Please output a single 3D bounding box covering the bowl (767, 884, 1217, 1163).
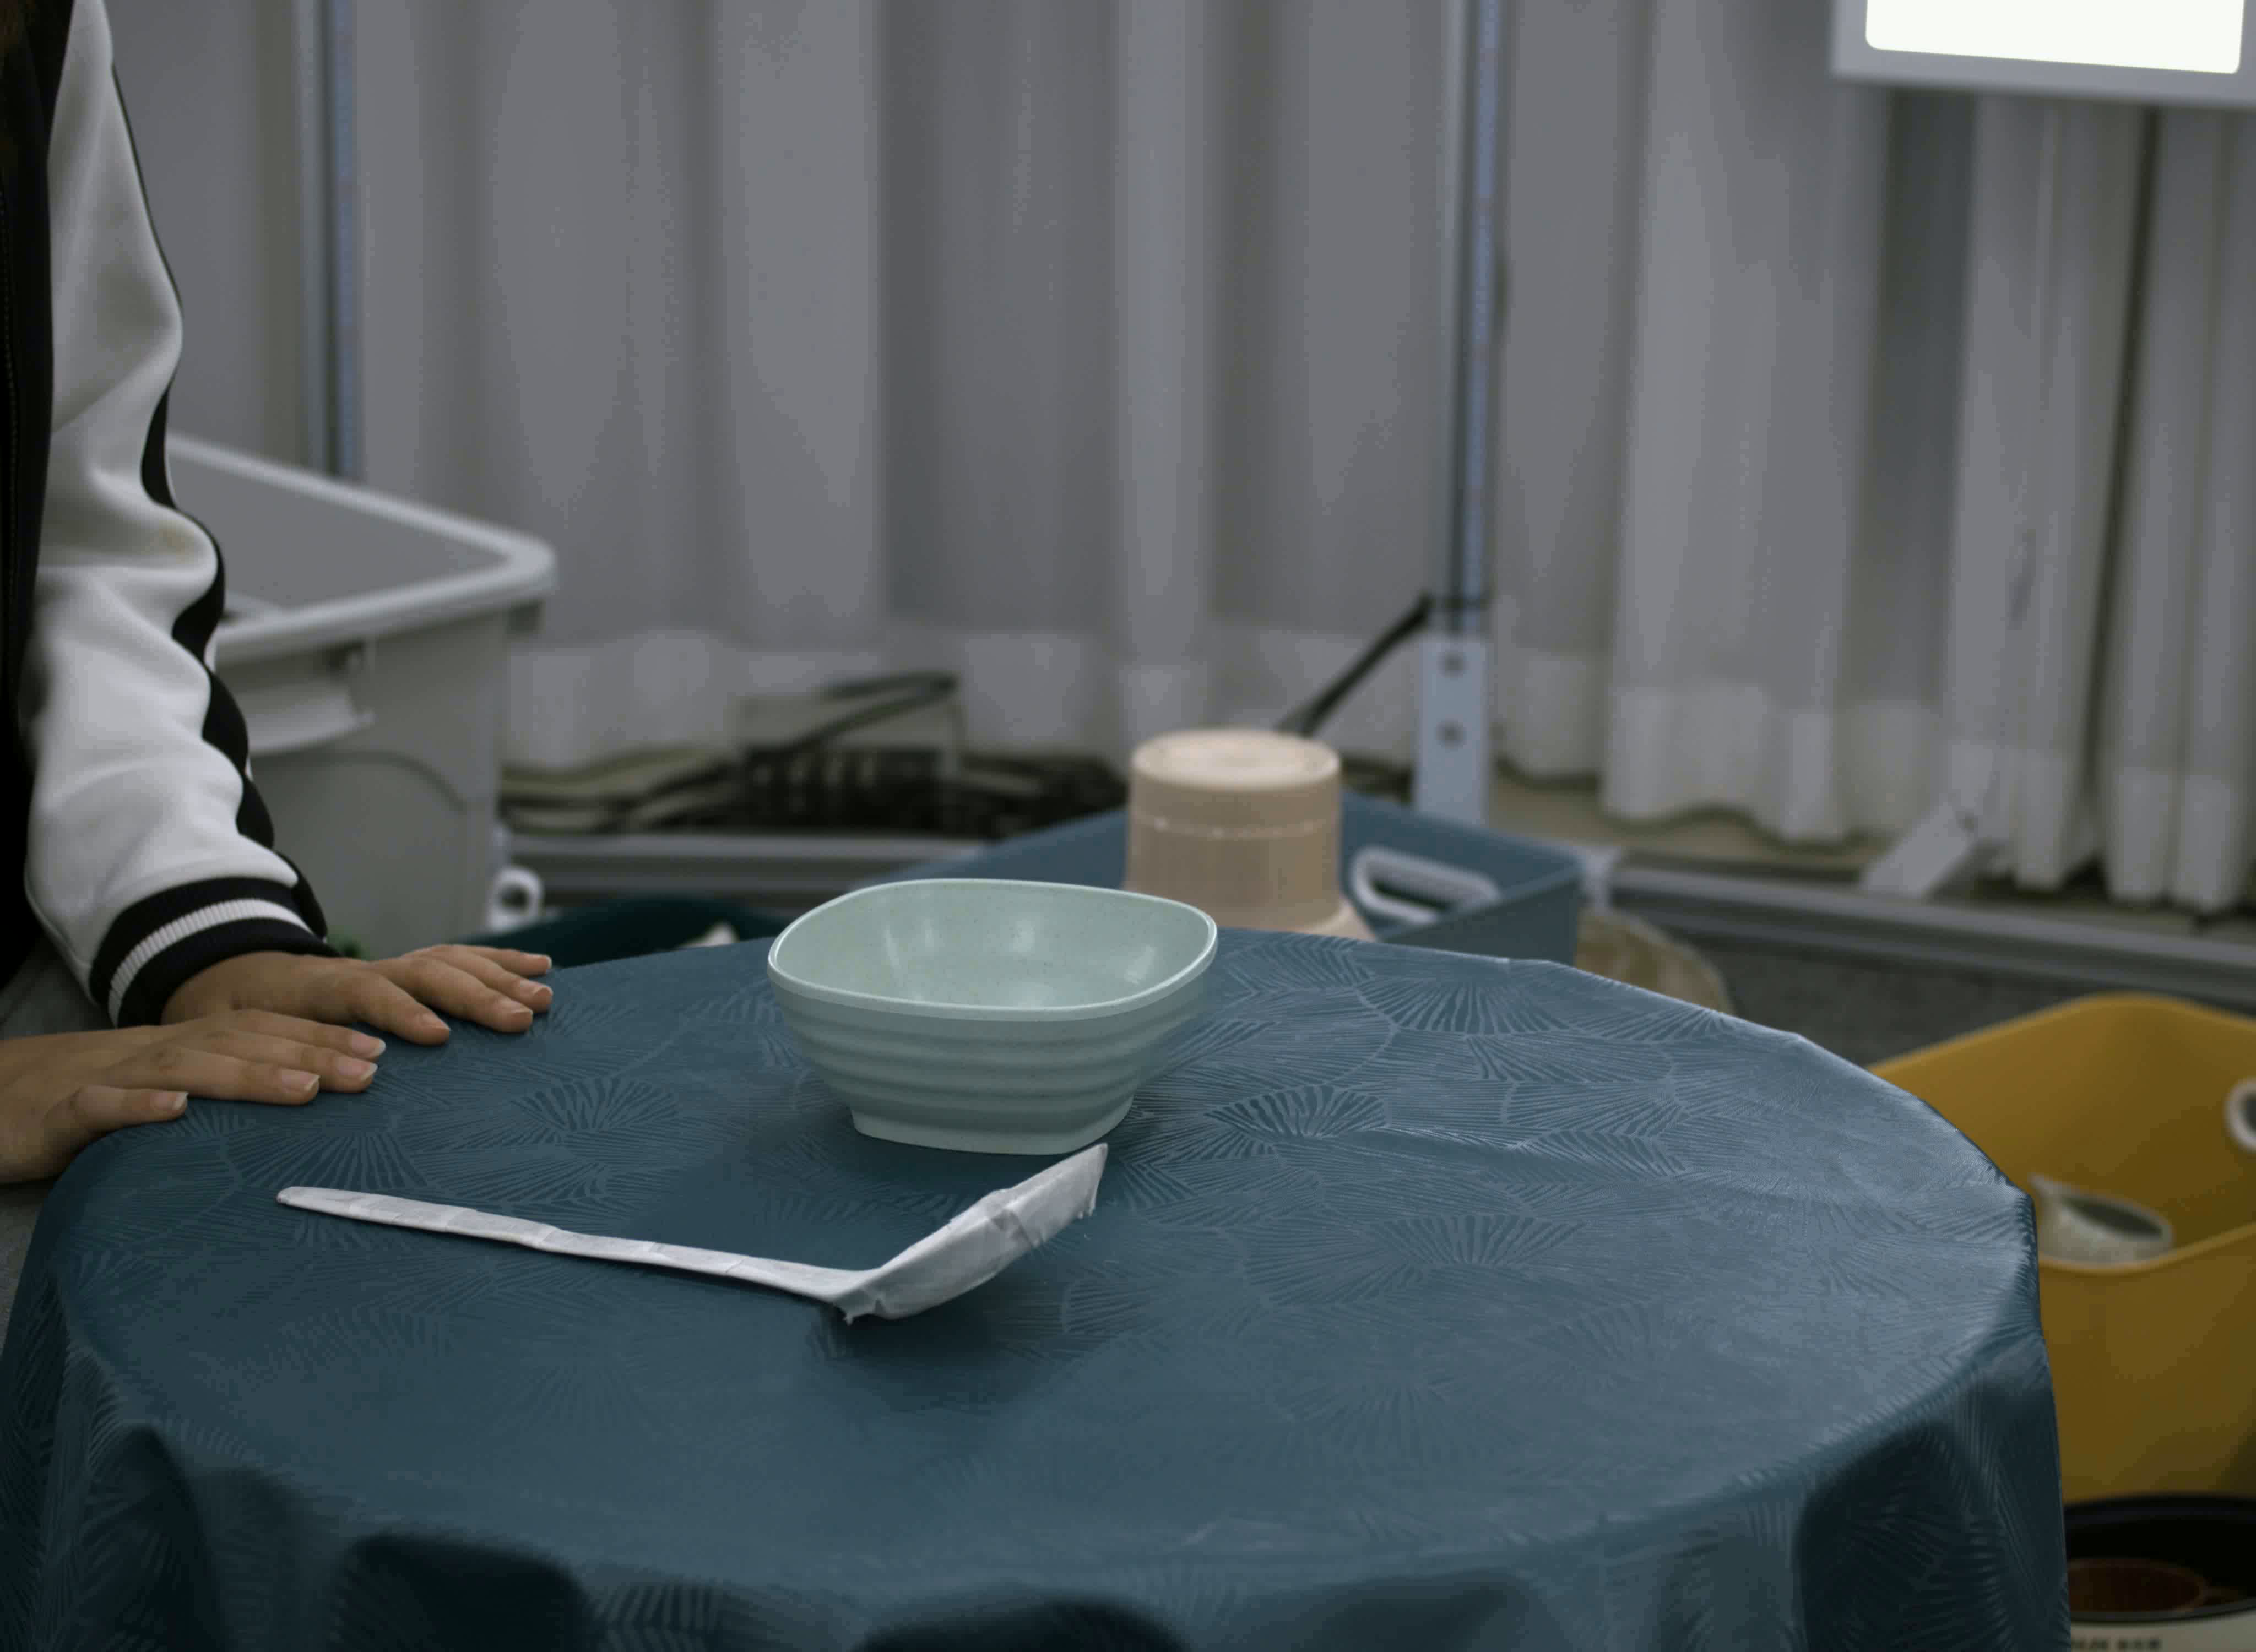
[{"bbox_3d":[-0.043,0.066,1.688,0.151,0.059,0.150,1,16,0],"label":"bowl"}]

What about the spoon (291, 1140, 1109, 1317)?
[{"bbox_3d":[-0.132,0.100,1.553,0.274,0.060,0.101,9,13,27],"label":"spoon"}]
